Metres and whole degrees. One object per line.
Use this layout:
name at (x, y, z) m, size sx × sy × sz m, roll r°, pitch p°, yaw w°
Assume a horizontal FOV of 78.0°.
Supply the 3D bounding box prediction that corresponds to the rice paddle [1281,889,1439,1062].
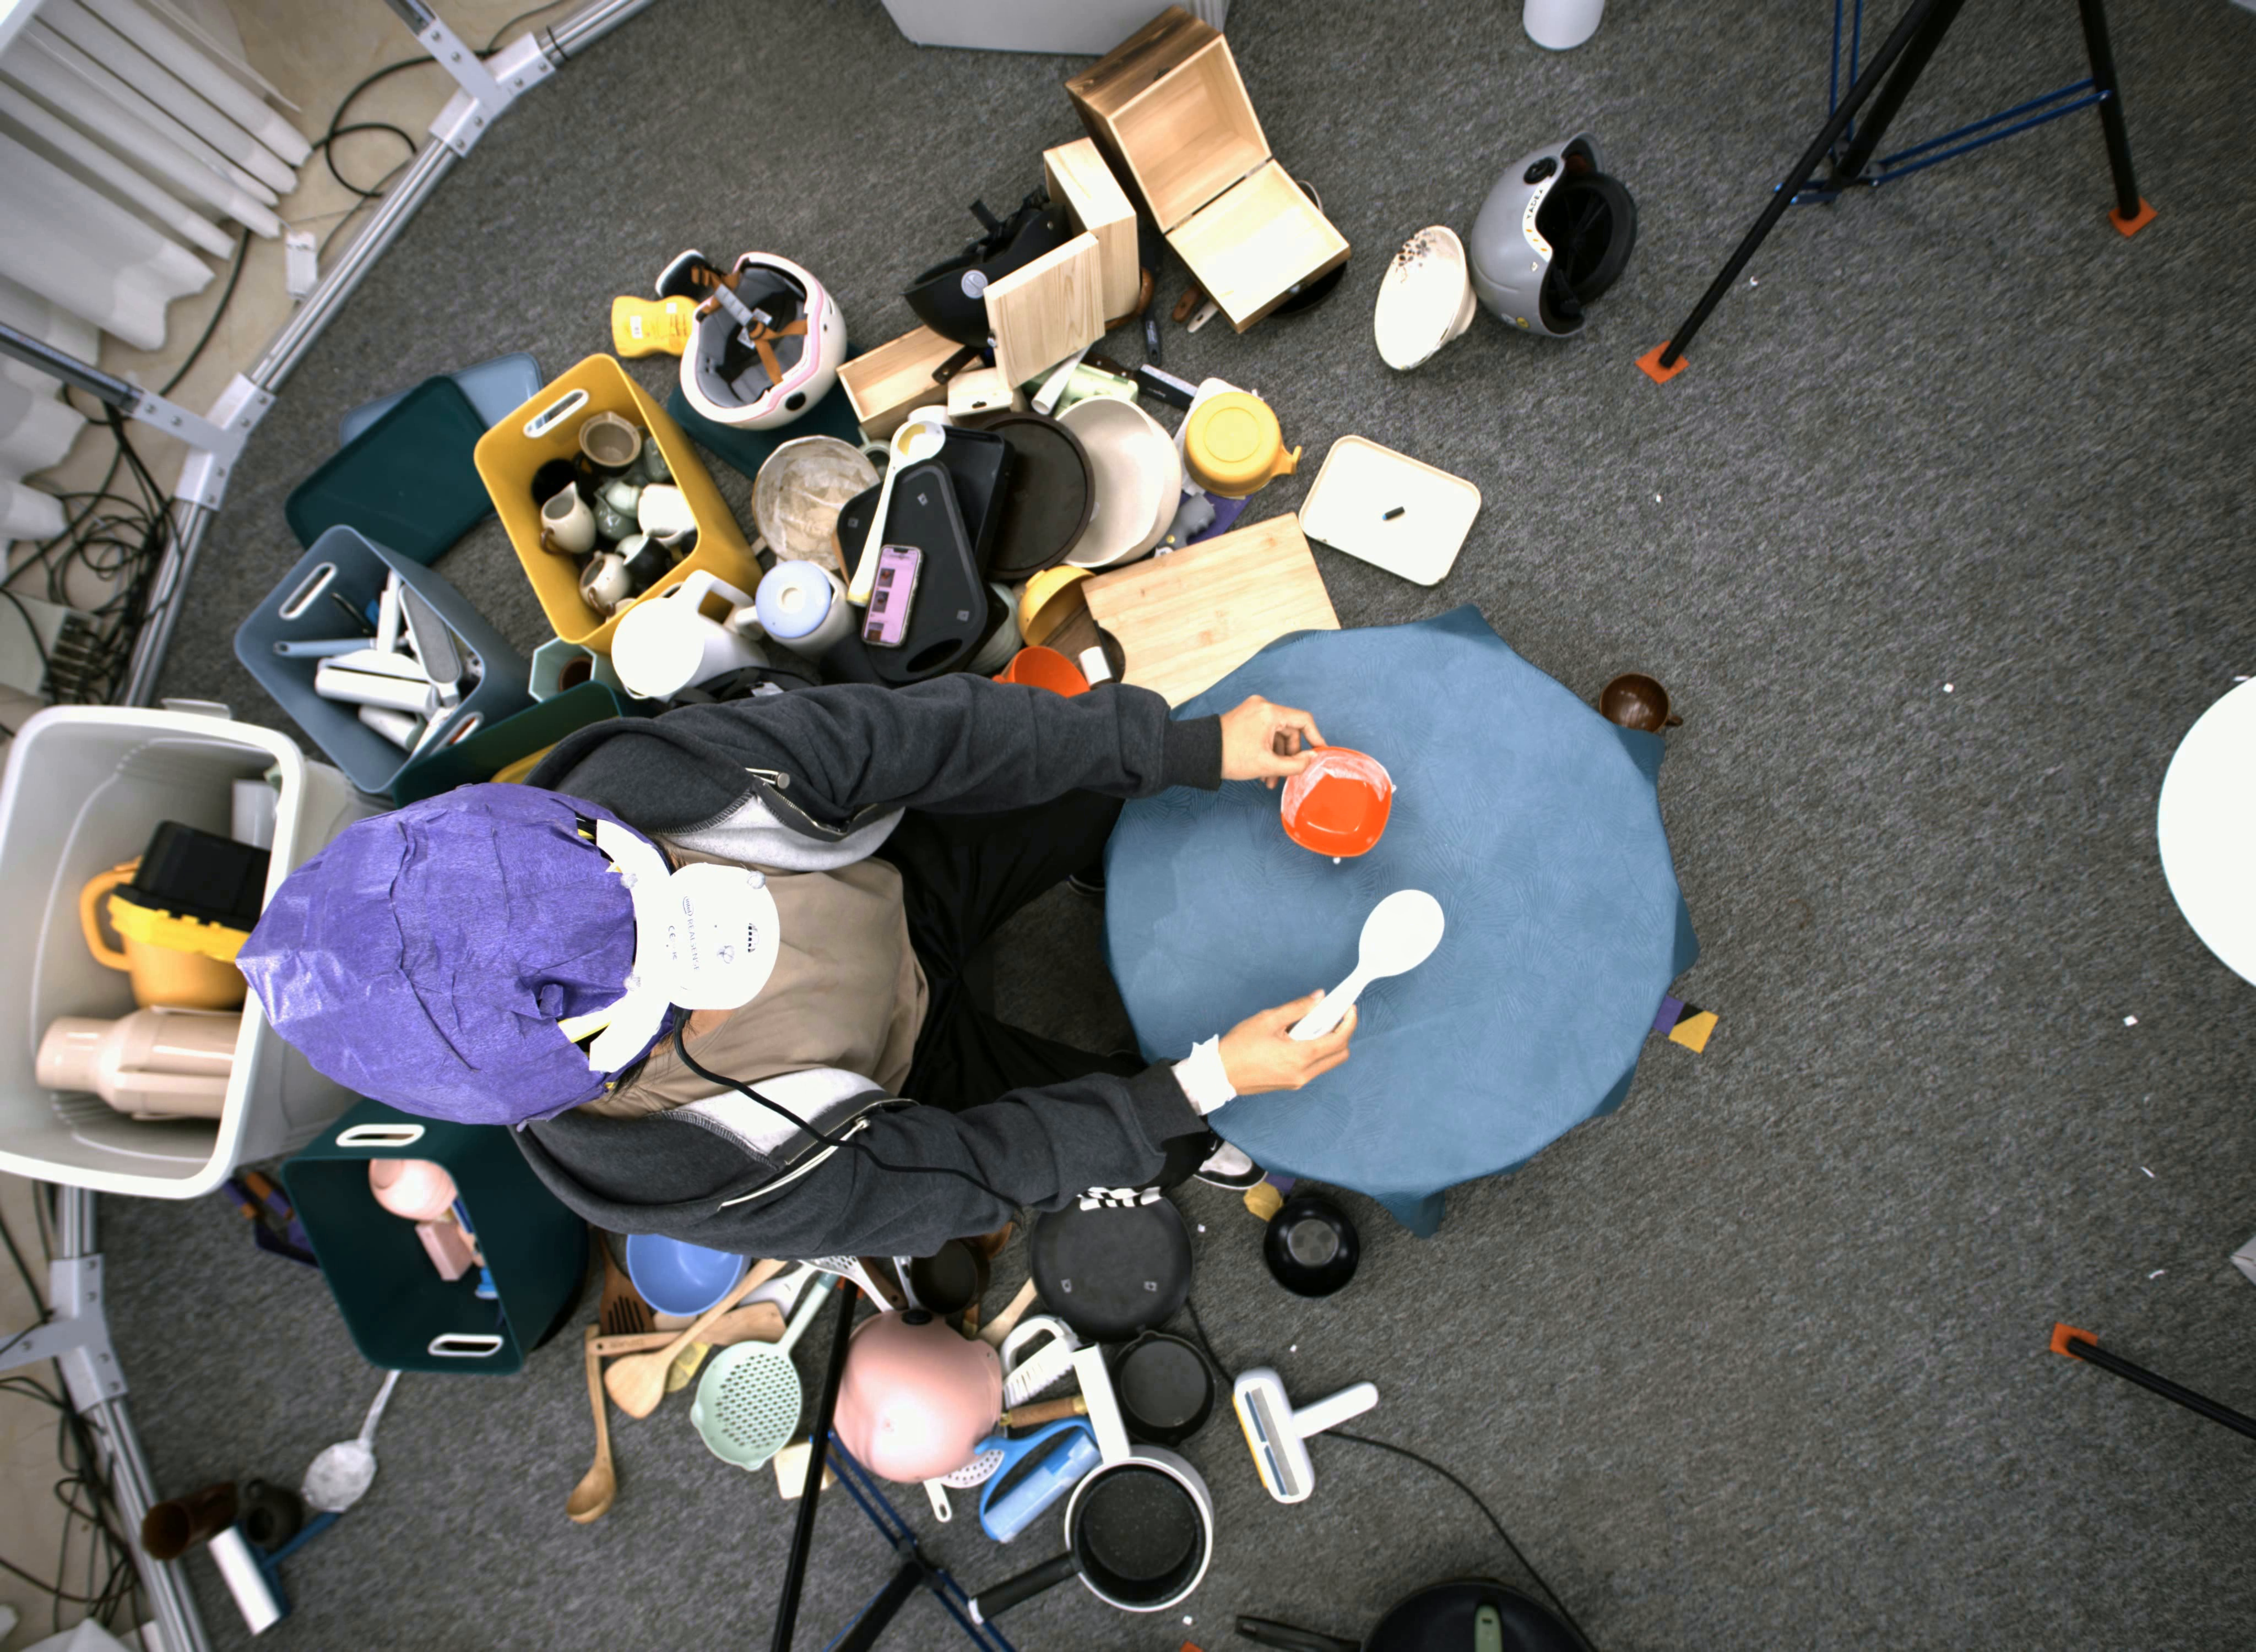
rice paddle at (0.227, 0.143, 1.357) m, size 0.068 × 0.029 × 0.205 m, roll 41°, pitch 89°, yaw 15°

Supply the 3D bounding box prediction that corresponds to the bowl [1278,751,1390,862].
bowl at (0.211, -0.021, 1.417) m, size 0.119 × 0.051 × 0.119 m, roll 1°, pitch 94°, yaw 9°
